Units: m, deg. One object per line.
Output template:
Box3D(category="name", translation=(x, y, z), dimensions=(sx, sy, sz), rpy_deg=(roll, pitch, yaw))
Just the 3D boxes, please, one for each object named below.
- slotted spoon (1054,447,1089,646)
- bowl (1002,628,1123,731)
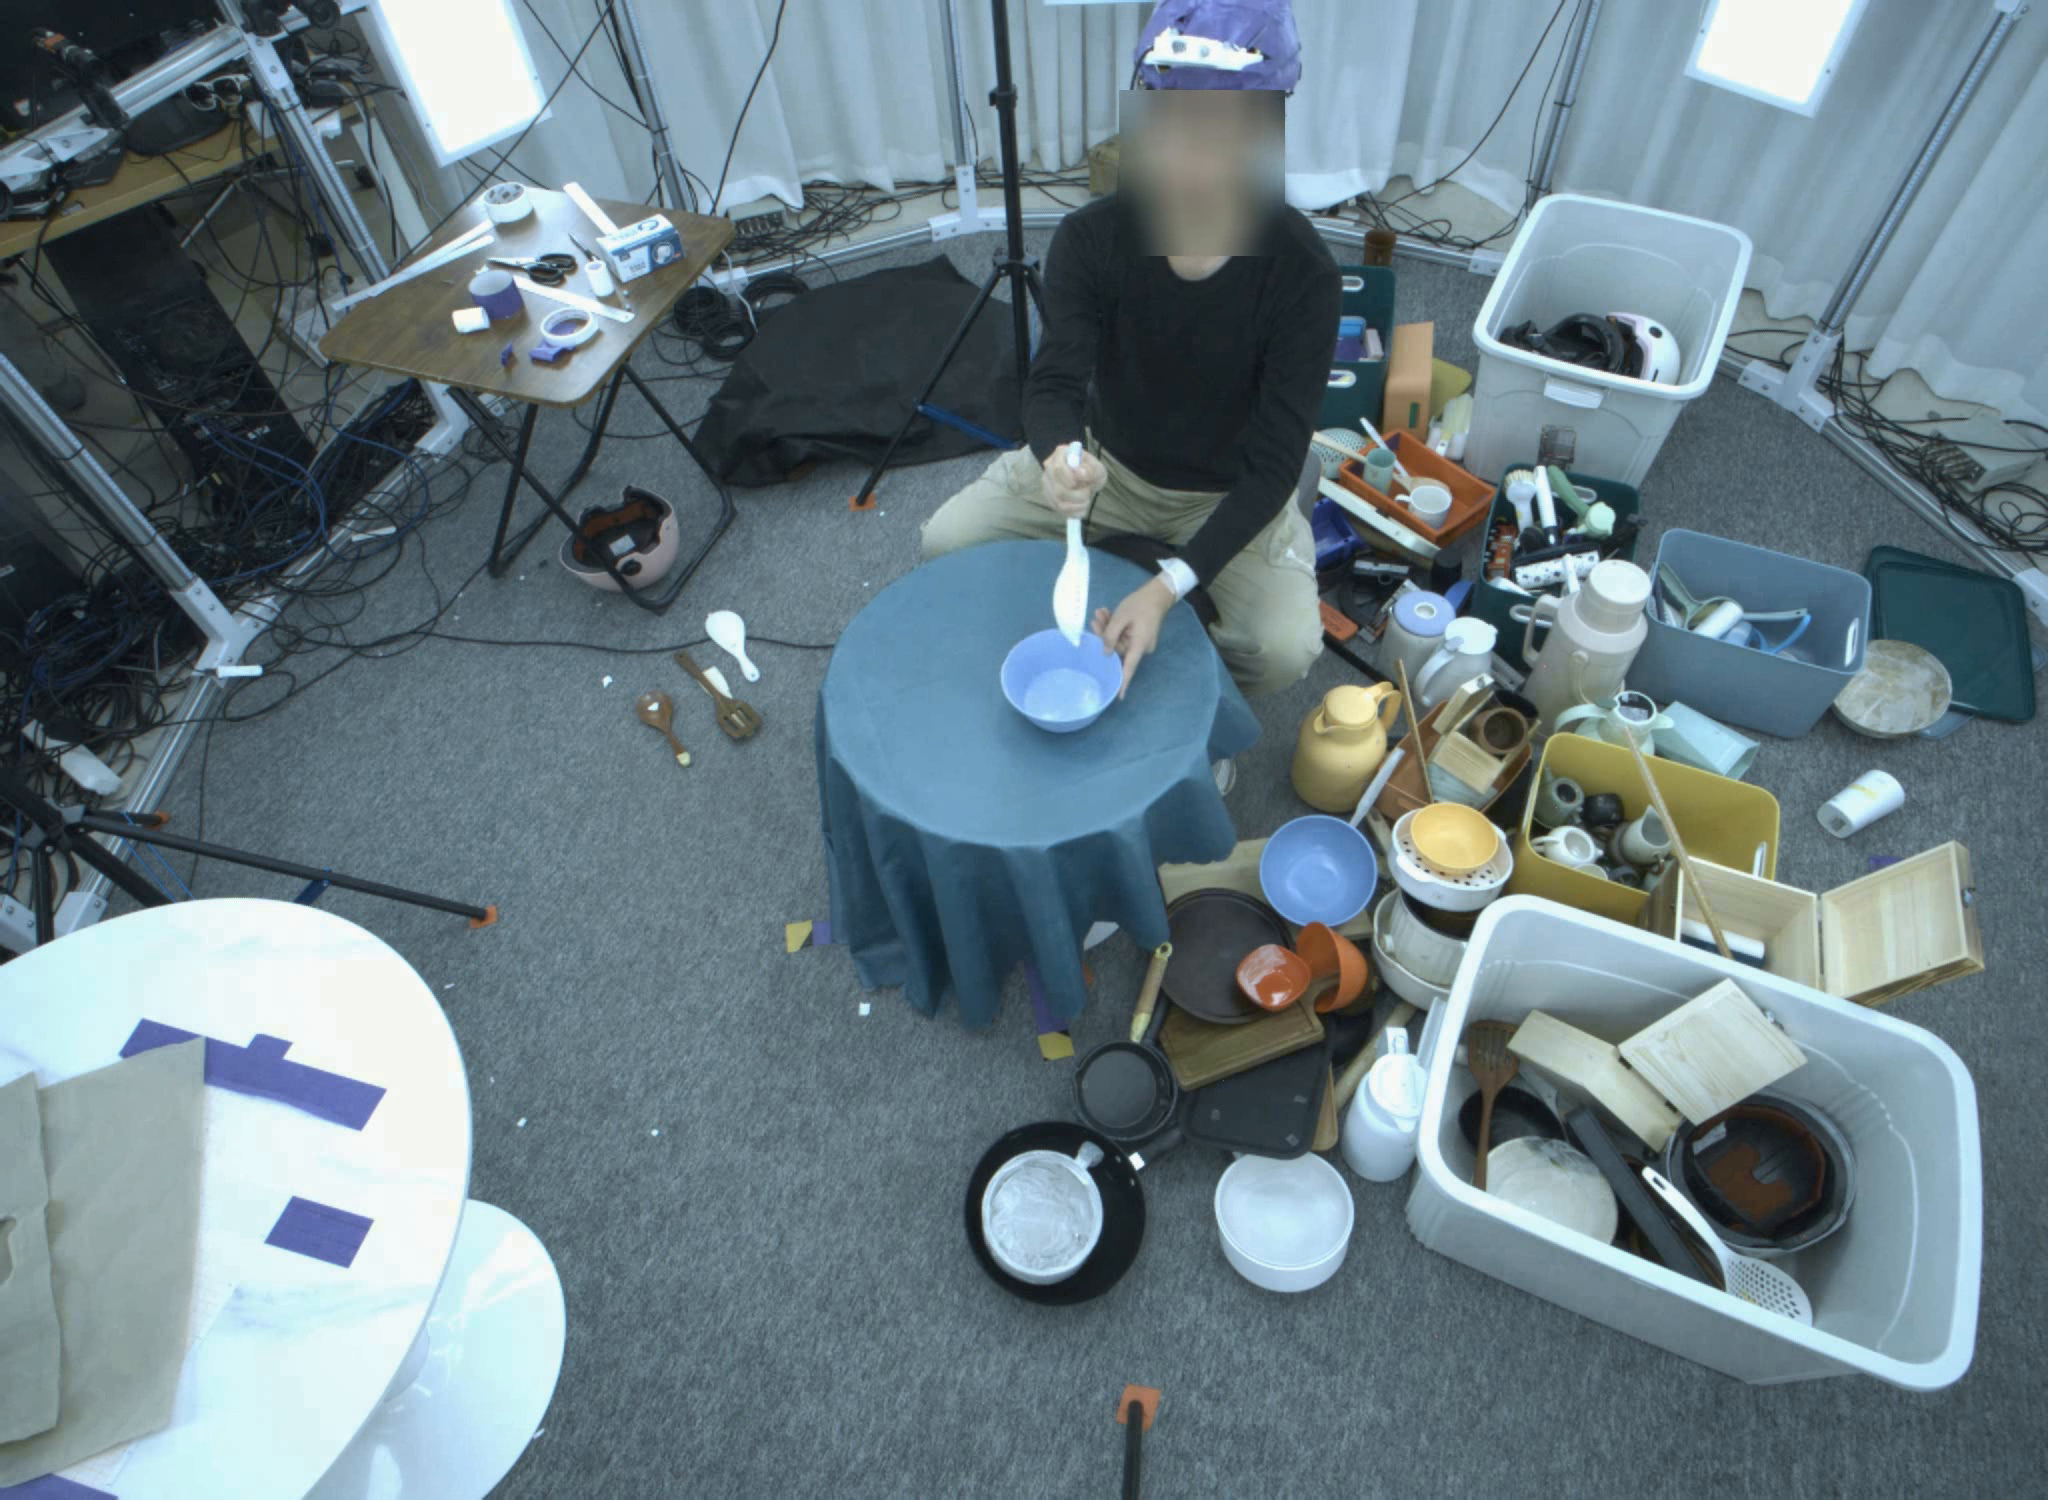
Box3D(category="slotted spoon", translation=(0.070, -0.274, 1.649), dimensions=(0.045, 0.352, 0.135), rpy_deg=(9, 59, 3))
Box3D(category="bowl", translation=(0.057, -0.093, 1.808), dimensions=(0.176, 0.071, 0.174), rpy_deg=(0, 54, 1))
